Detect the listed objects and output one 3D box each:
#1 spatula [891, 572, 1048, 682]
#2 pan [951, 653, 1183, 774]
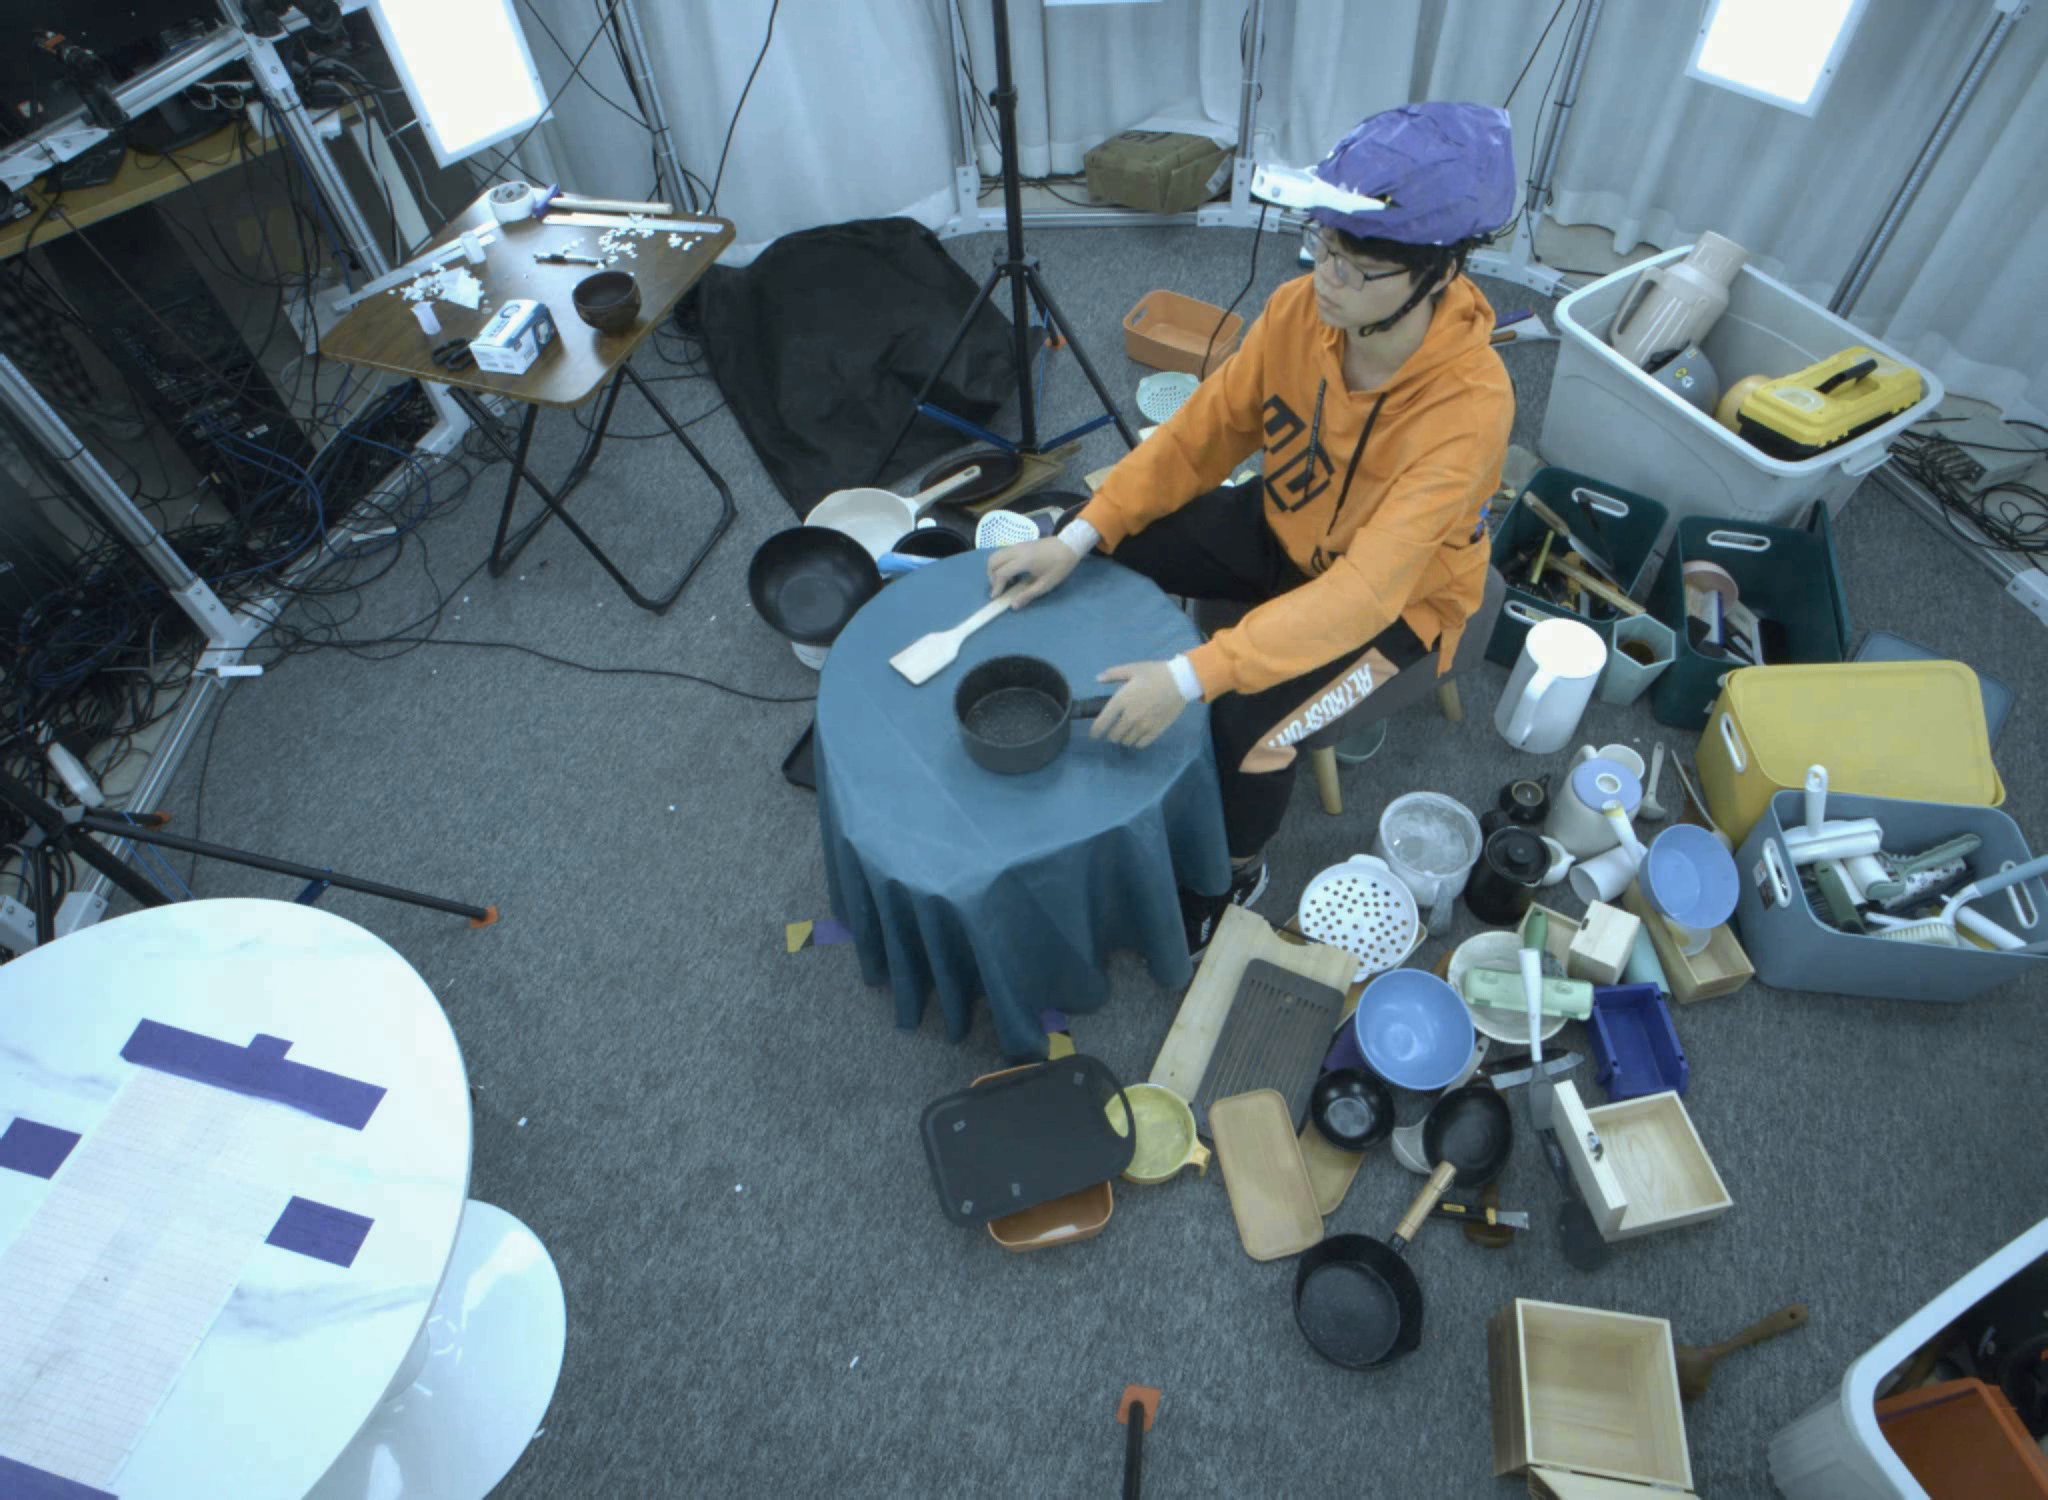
[{"bbox_3d":[-0.078,-0.201,1.926,0.295,0.011,0.071,-37,57,-21],"label":"spatula"},{"bbox_3d":[0.064,-0.050,1.768,0.327,0.087,0.170,2,56,6],"label":"pan"}]
